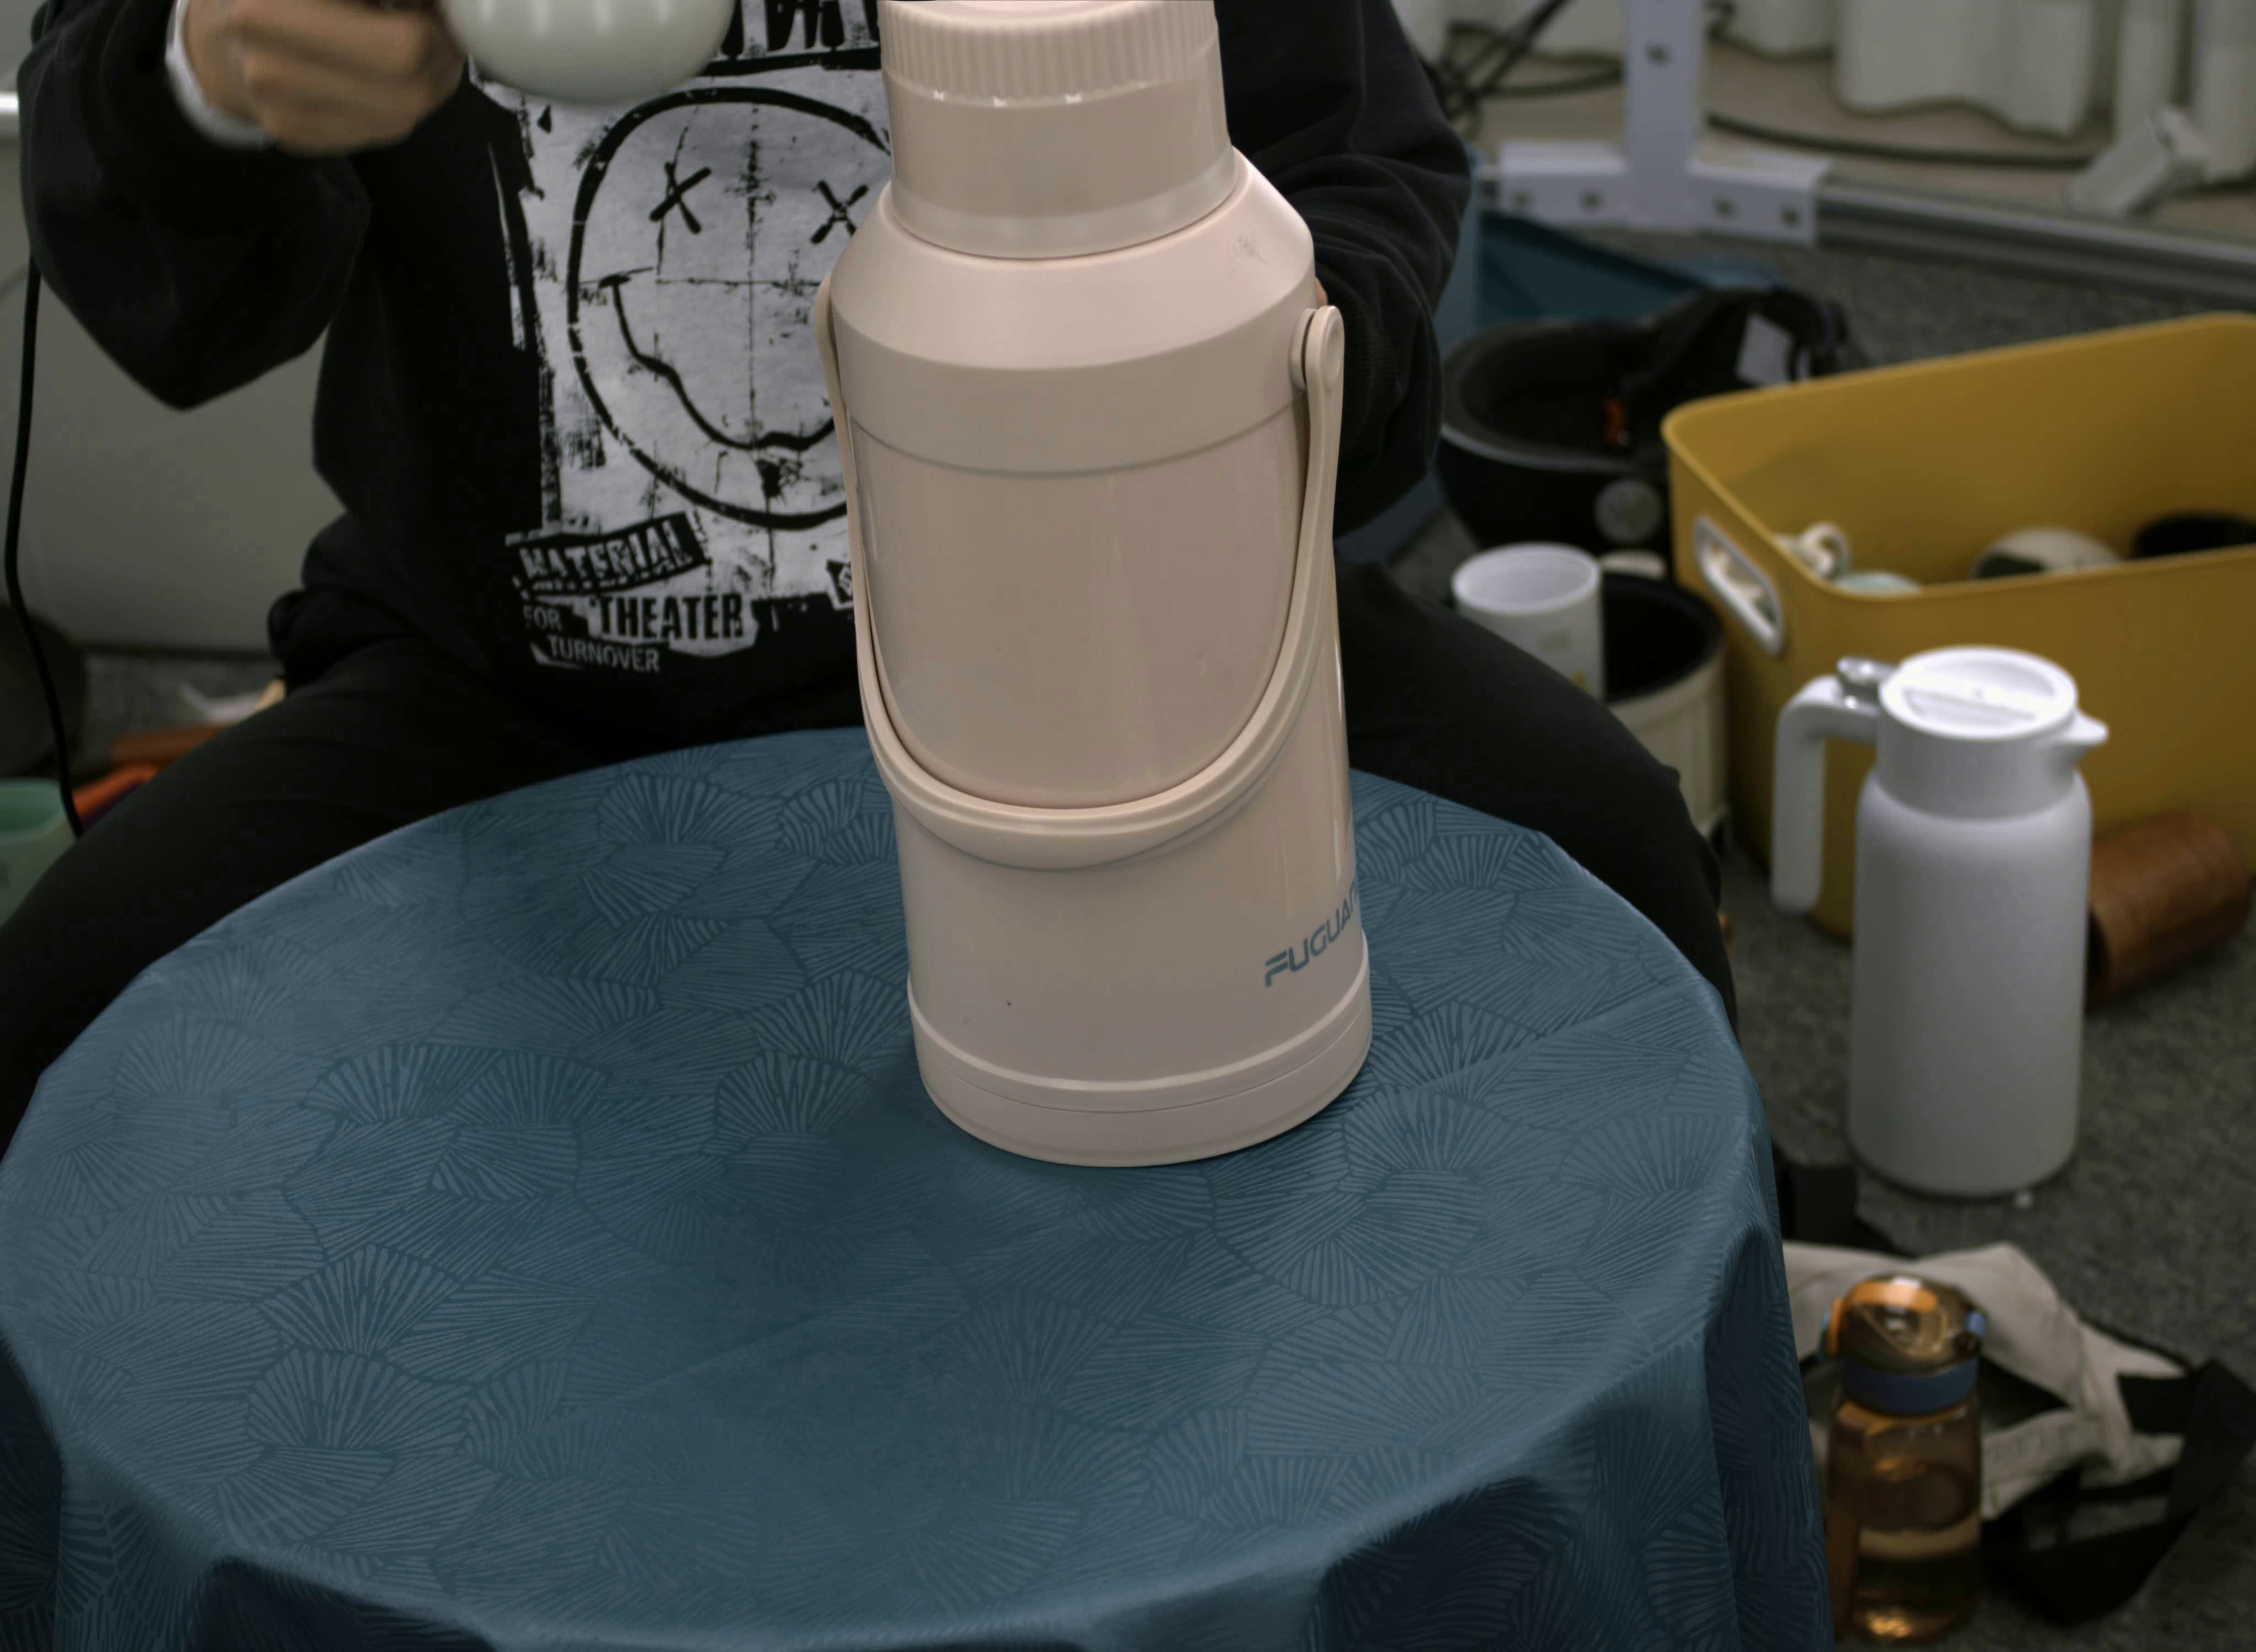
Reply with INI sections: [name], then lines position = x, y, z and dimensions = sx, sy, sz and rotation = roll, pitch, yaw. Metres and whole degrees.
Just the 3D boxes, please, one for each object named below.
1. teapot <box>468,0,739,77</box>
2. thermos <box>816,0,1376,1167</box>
[teapot]
position = -0.174, -0.274, 1.765
dimensions = 0.127, 0.058, 0.093
rotation = 8, 36, -3
[thermos]
position = -0.004, -0.104, 1.863
dimensions = 0.174, 0.402, 0.211
rotation = 4, 29, 19
